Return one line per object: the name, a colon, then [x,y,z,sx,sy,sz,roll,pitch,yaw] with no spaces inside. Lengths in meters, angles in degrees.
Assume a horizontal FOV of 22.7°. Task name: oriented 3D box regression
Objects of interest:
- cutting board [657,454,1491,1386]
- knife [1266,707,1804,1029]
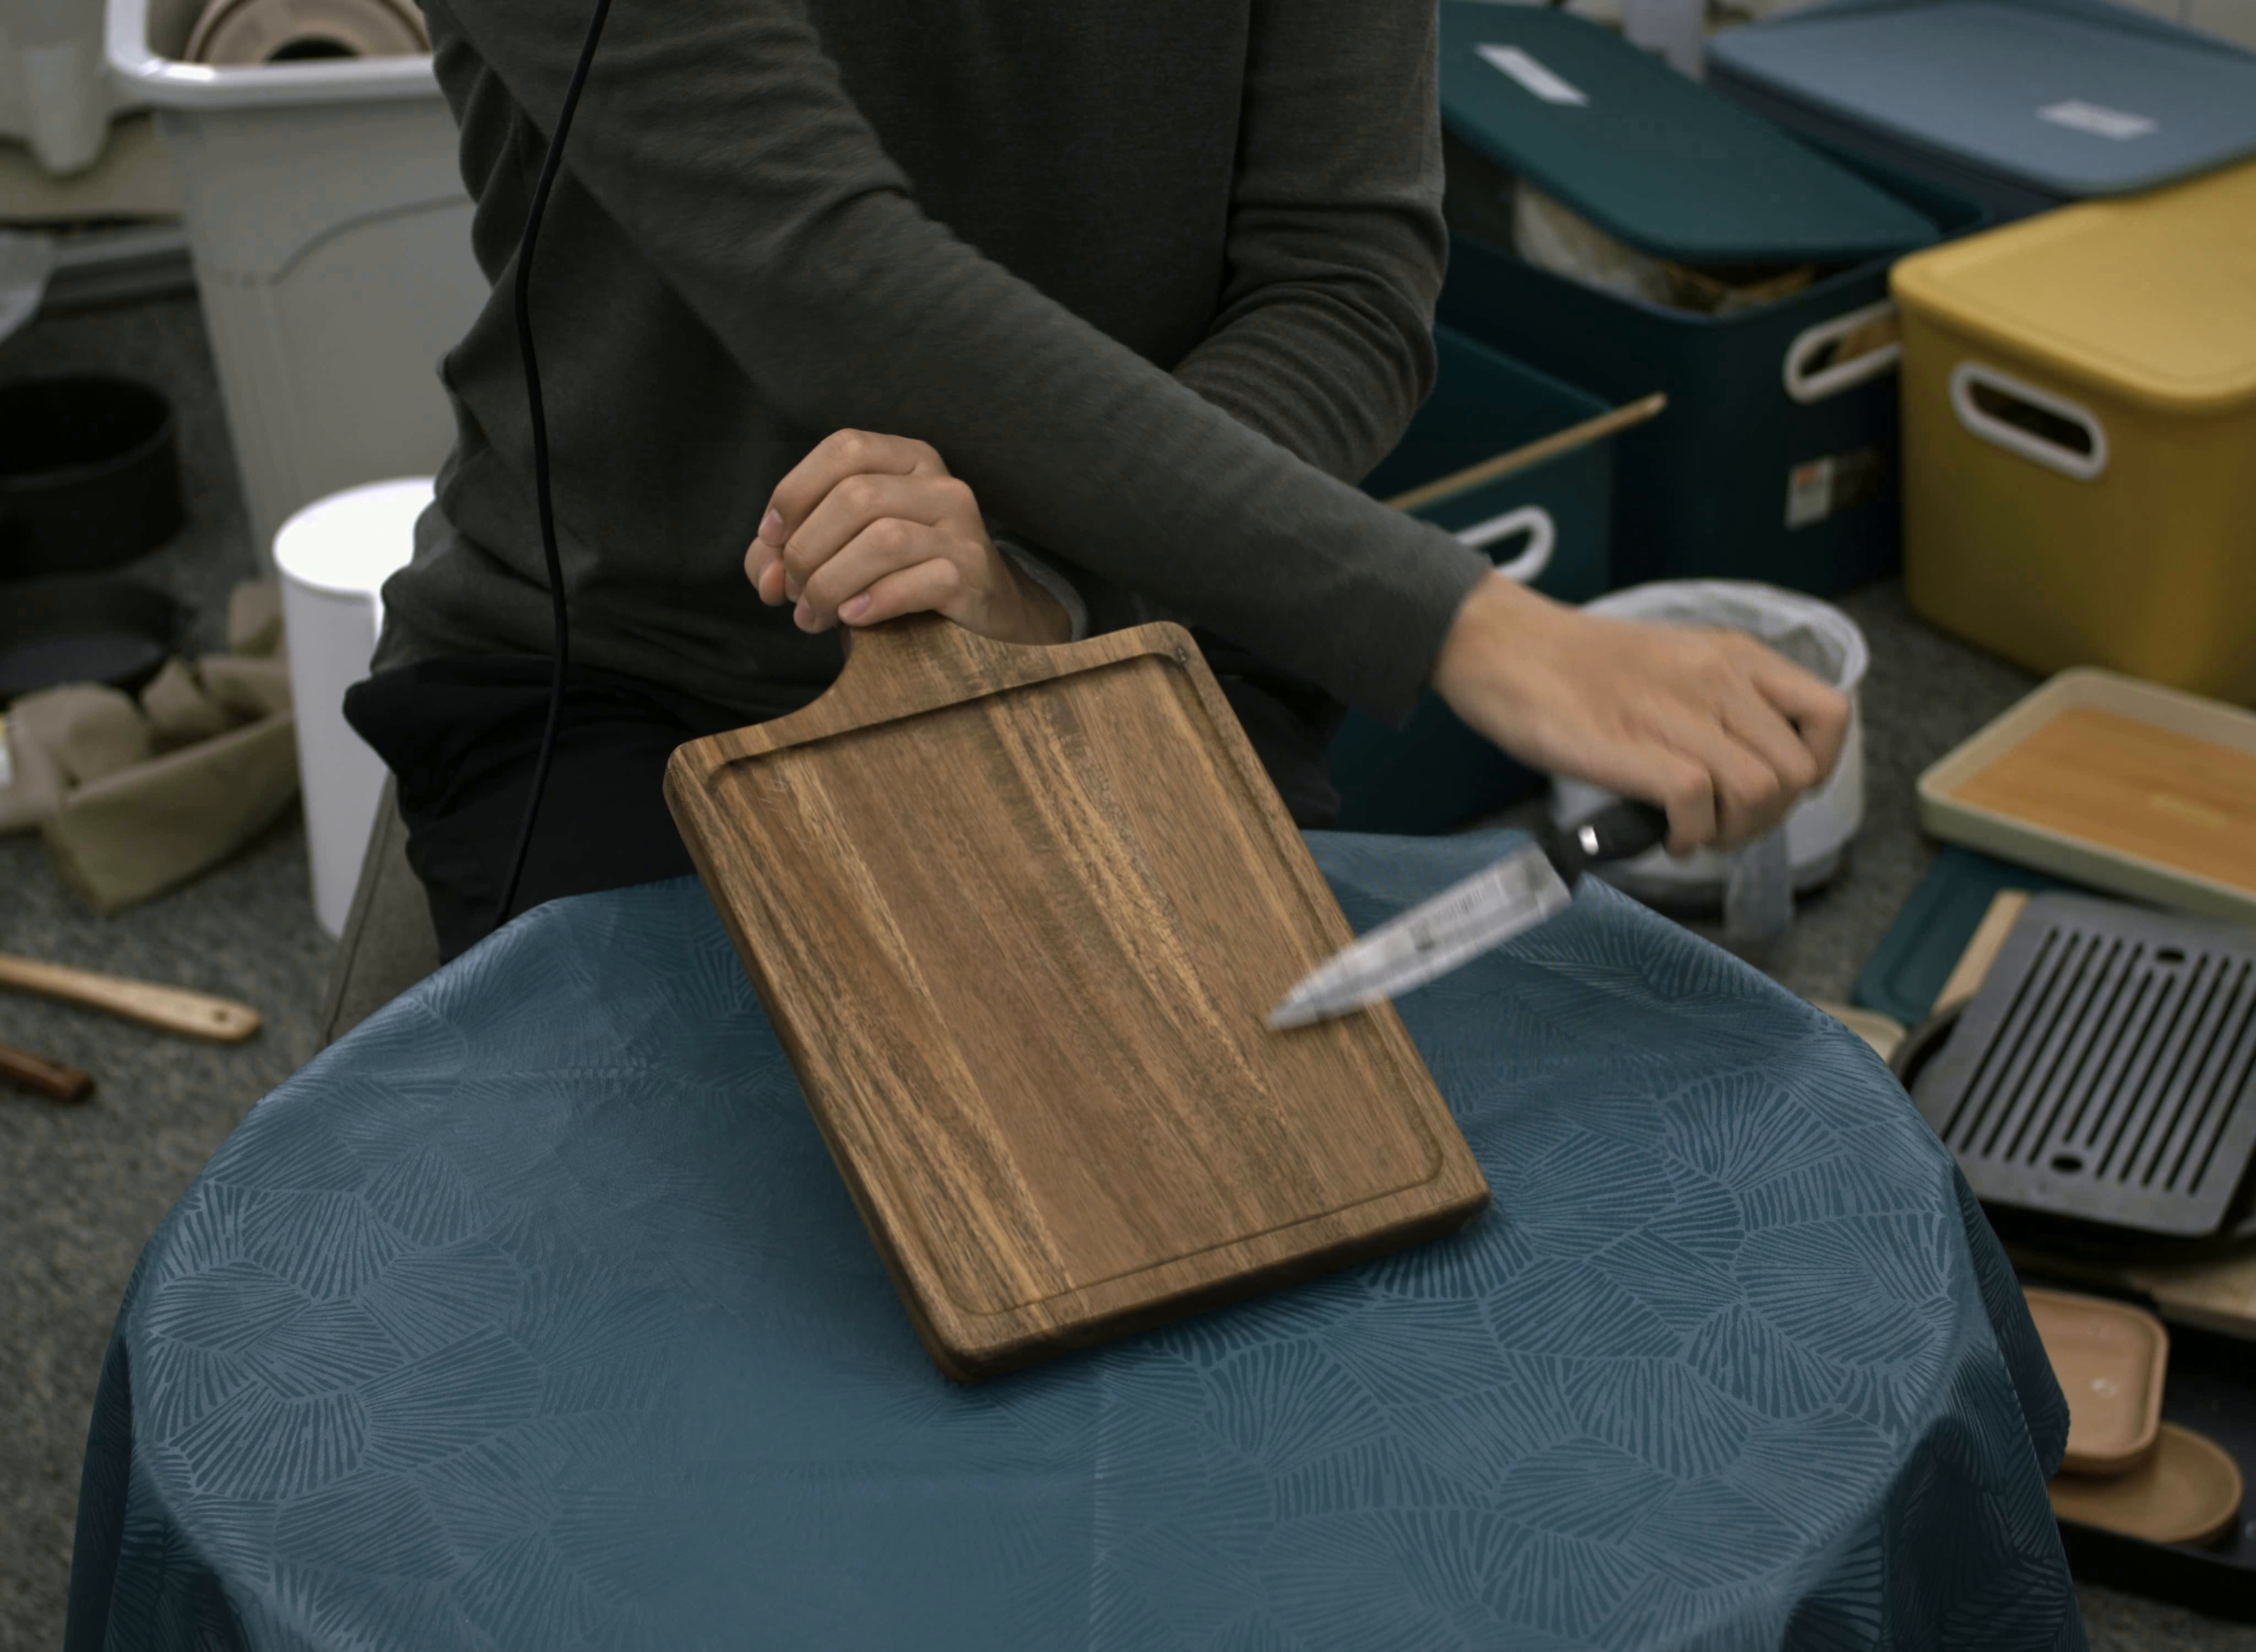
cutting board: [-0.040,0.013,1.876,0.202,0.023,0.356,-15,58,-23]
knife: [0.136,0.013,1.901,0.240,0.016,0.024,-28,71,-29]
